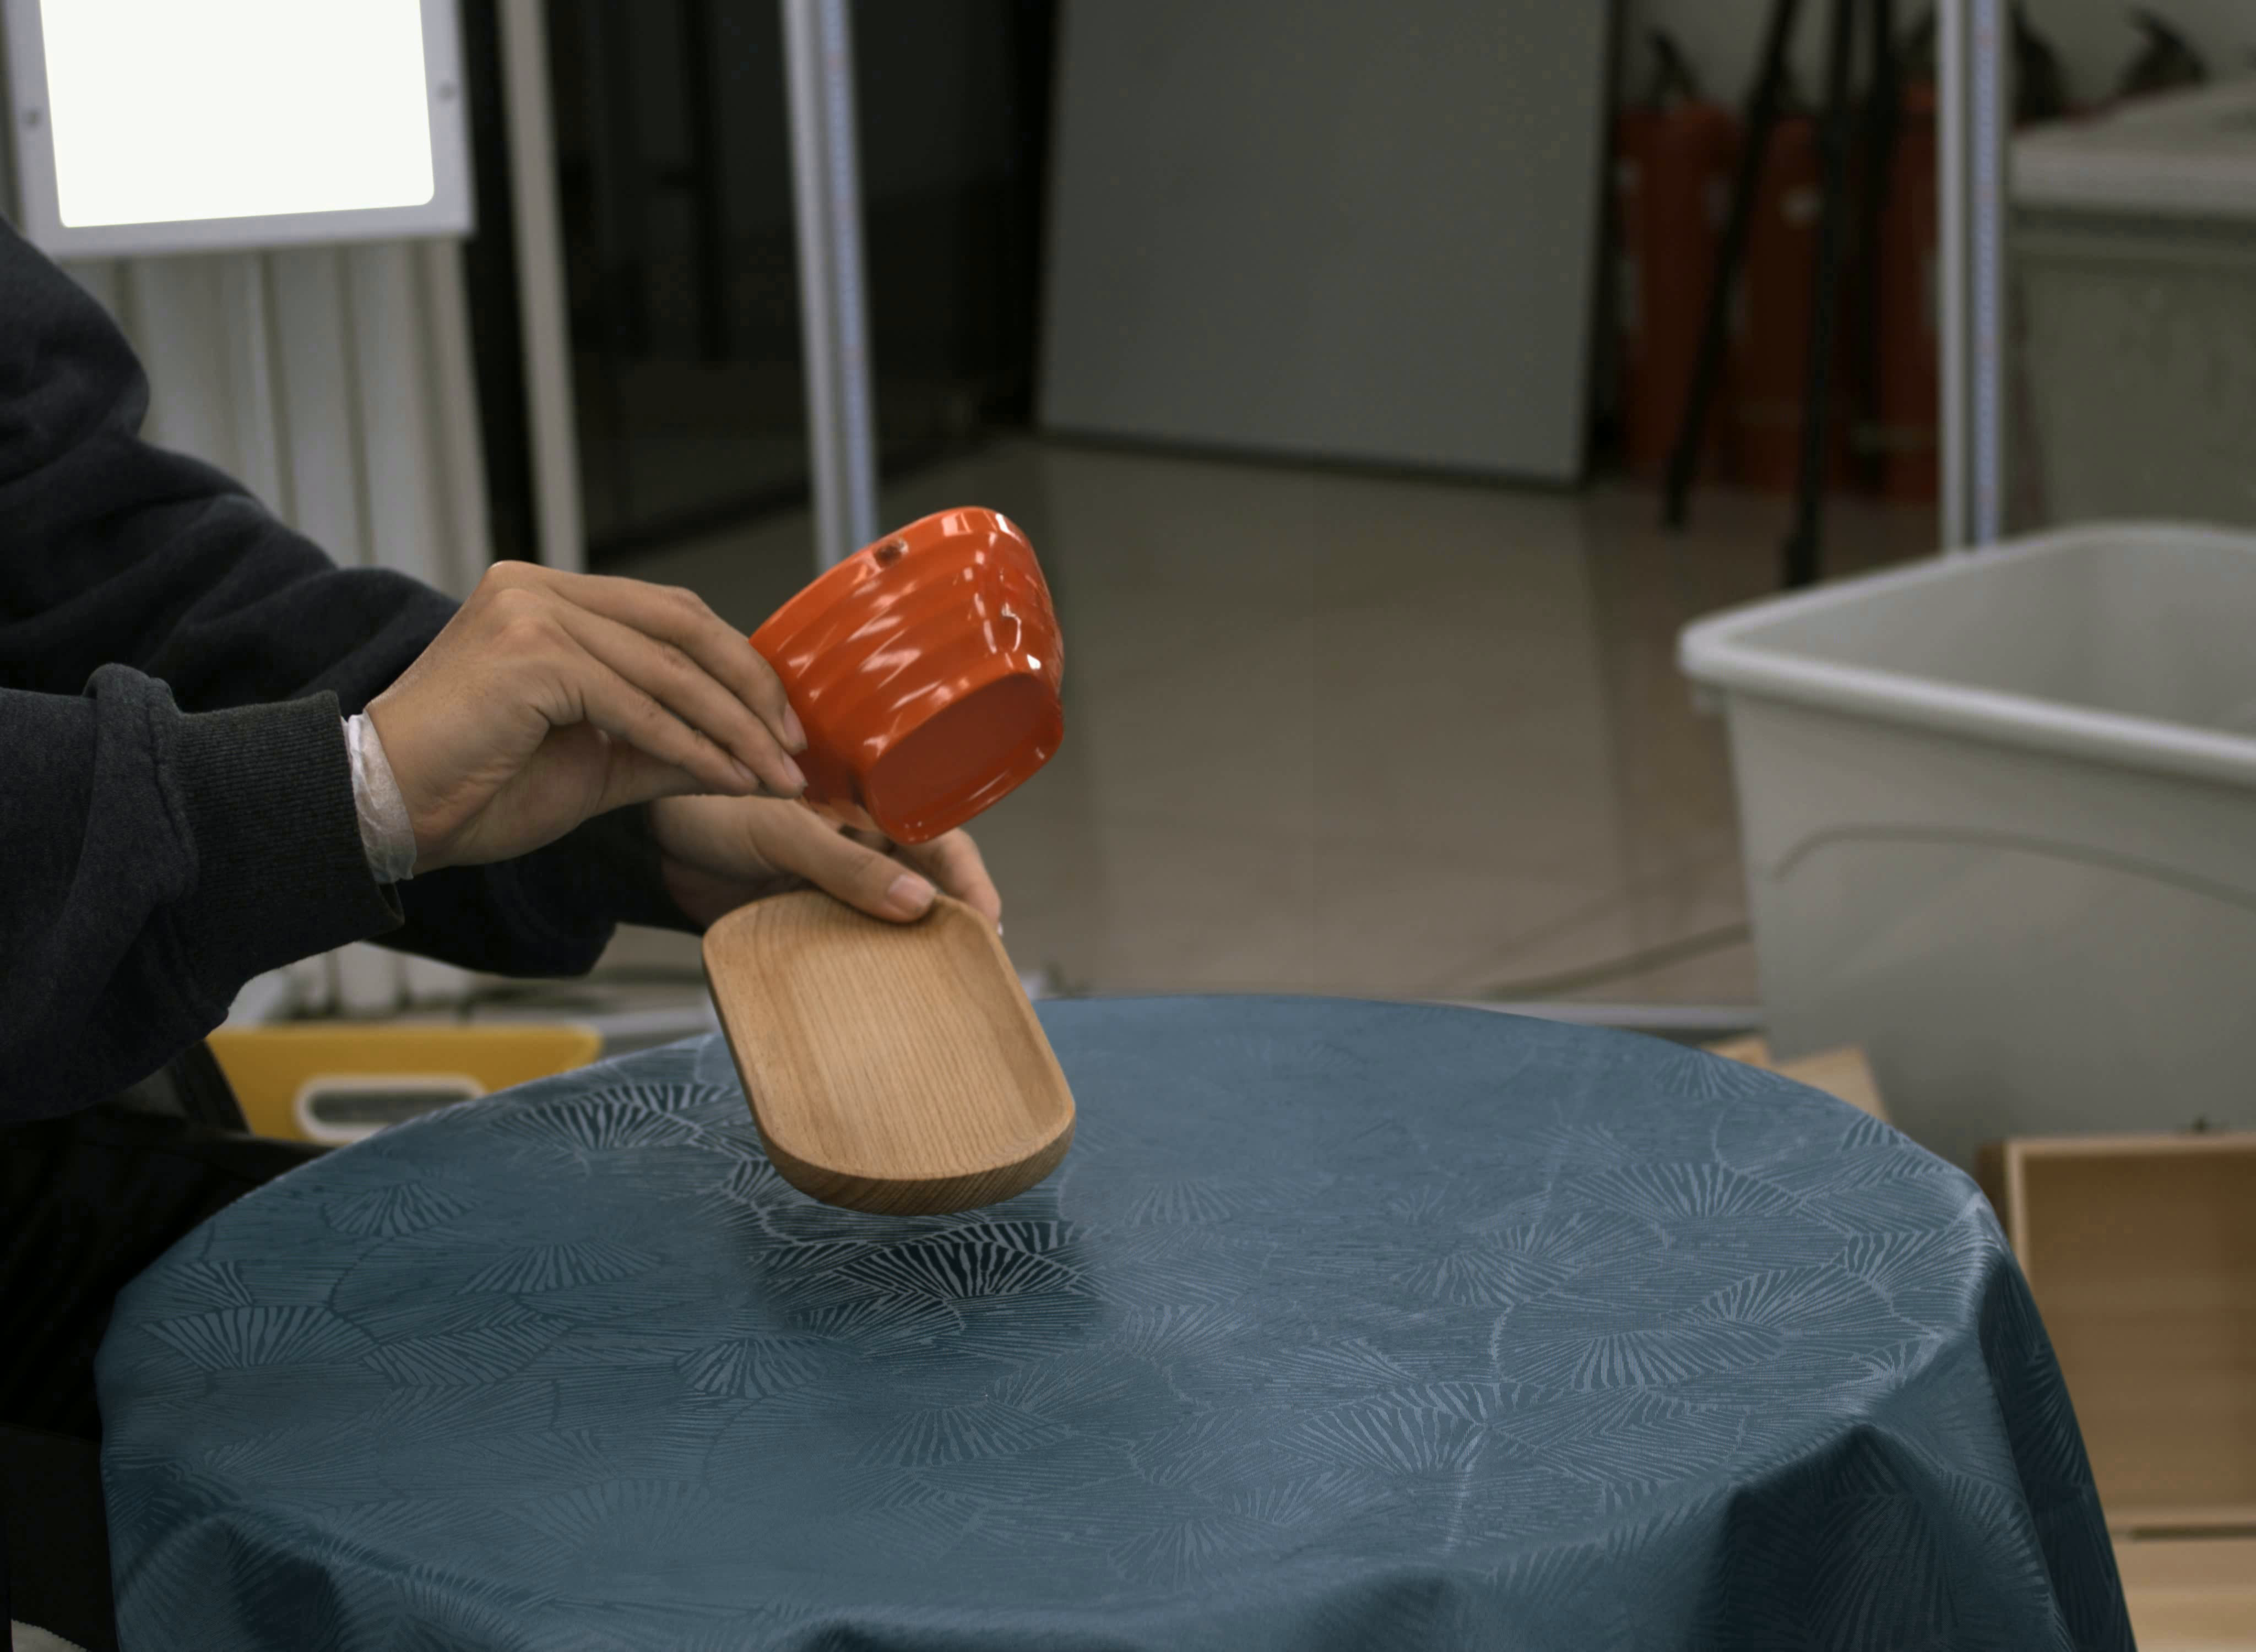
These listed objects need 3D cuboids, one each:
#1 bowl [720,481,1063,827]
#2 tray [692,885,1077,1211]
[{"bbox_3d":[-0.062,-0.043,1.627,0.116,0.120,0.052,-13,55,-35],"label":"bowl"},{"bbox_3d":[-0.081,0.069,1.751,0.100,0.020,0.233,-6,21,-12],"label":"tray"}]
